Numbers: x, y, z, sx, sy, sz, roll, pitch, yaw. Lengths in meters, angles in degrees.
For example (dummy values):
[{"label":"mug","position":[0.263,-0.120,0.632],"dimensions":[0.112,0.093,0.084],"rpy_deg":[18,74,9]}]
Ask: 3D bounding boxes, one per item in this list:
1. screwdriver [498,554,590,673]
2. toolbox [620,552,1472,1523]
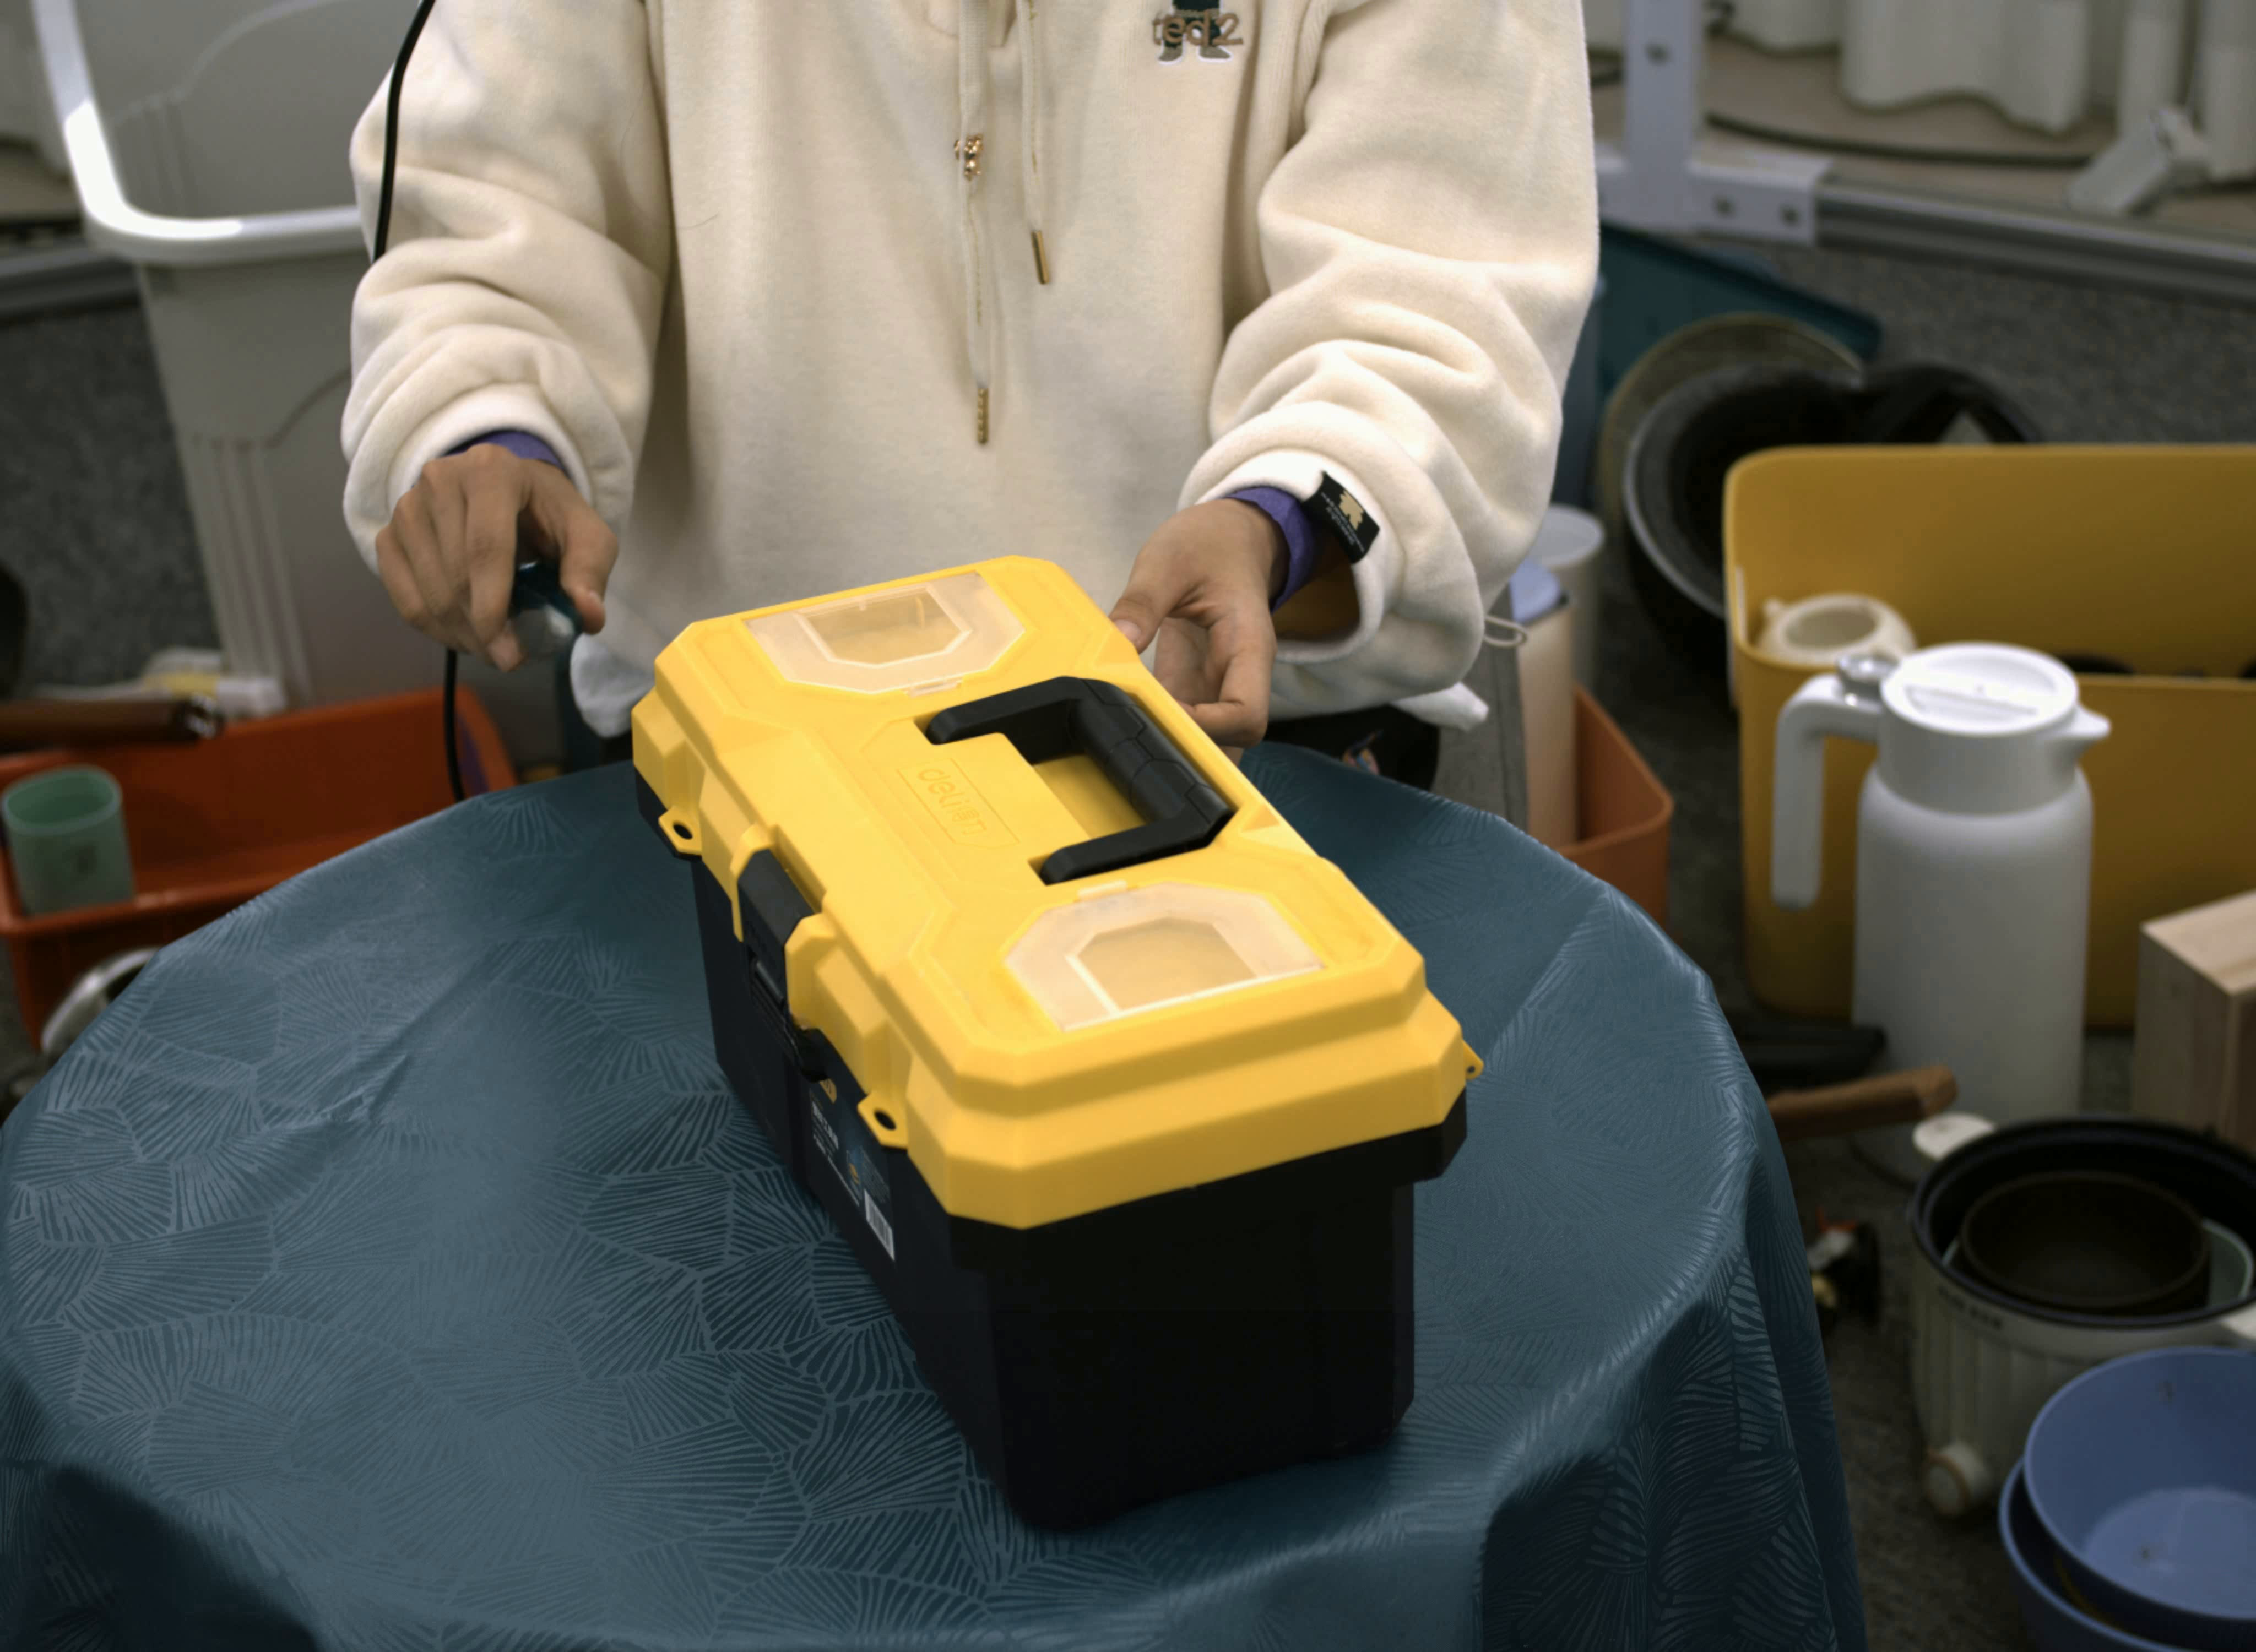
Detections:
[{"label":"screwdriver","position":[-0.202,-0.069,1.976],"dimensions":[0.033,0.033,0.190],"rpy_deg":[-7,11,-7]},{"label":"toolbox","position":[-0.031,0.060,1.796],"dimensions":[0.182,0.171,0.354],"rpy_deg":[-12,28,-17]}]
